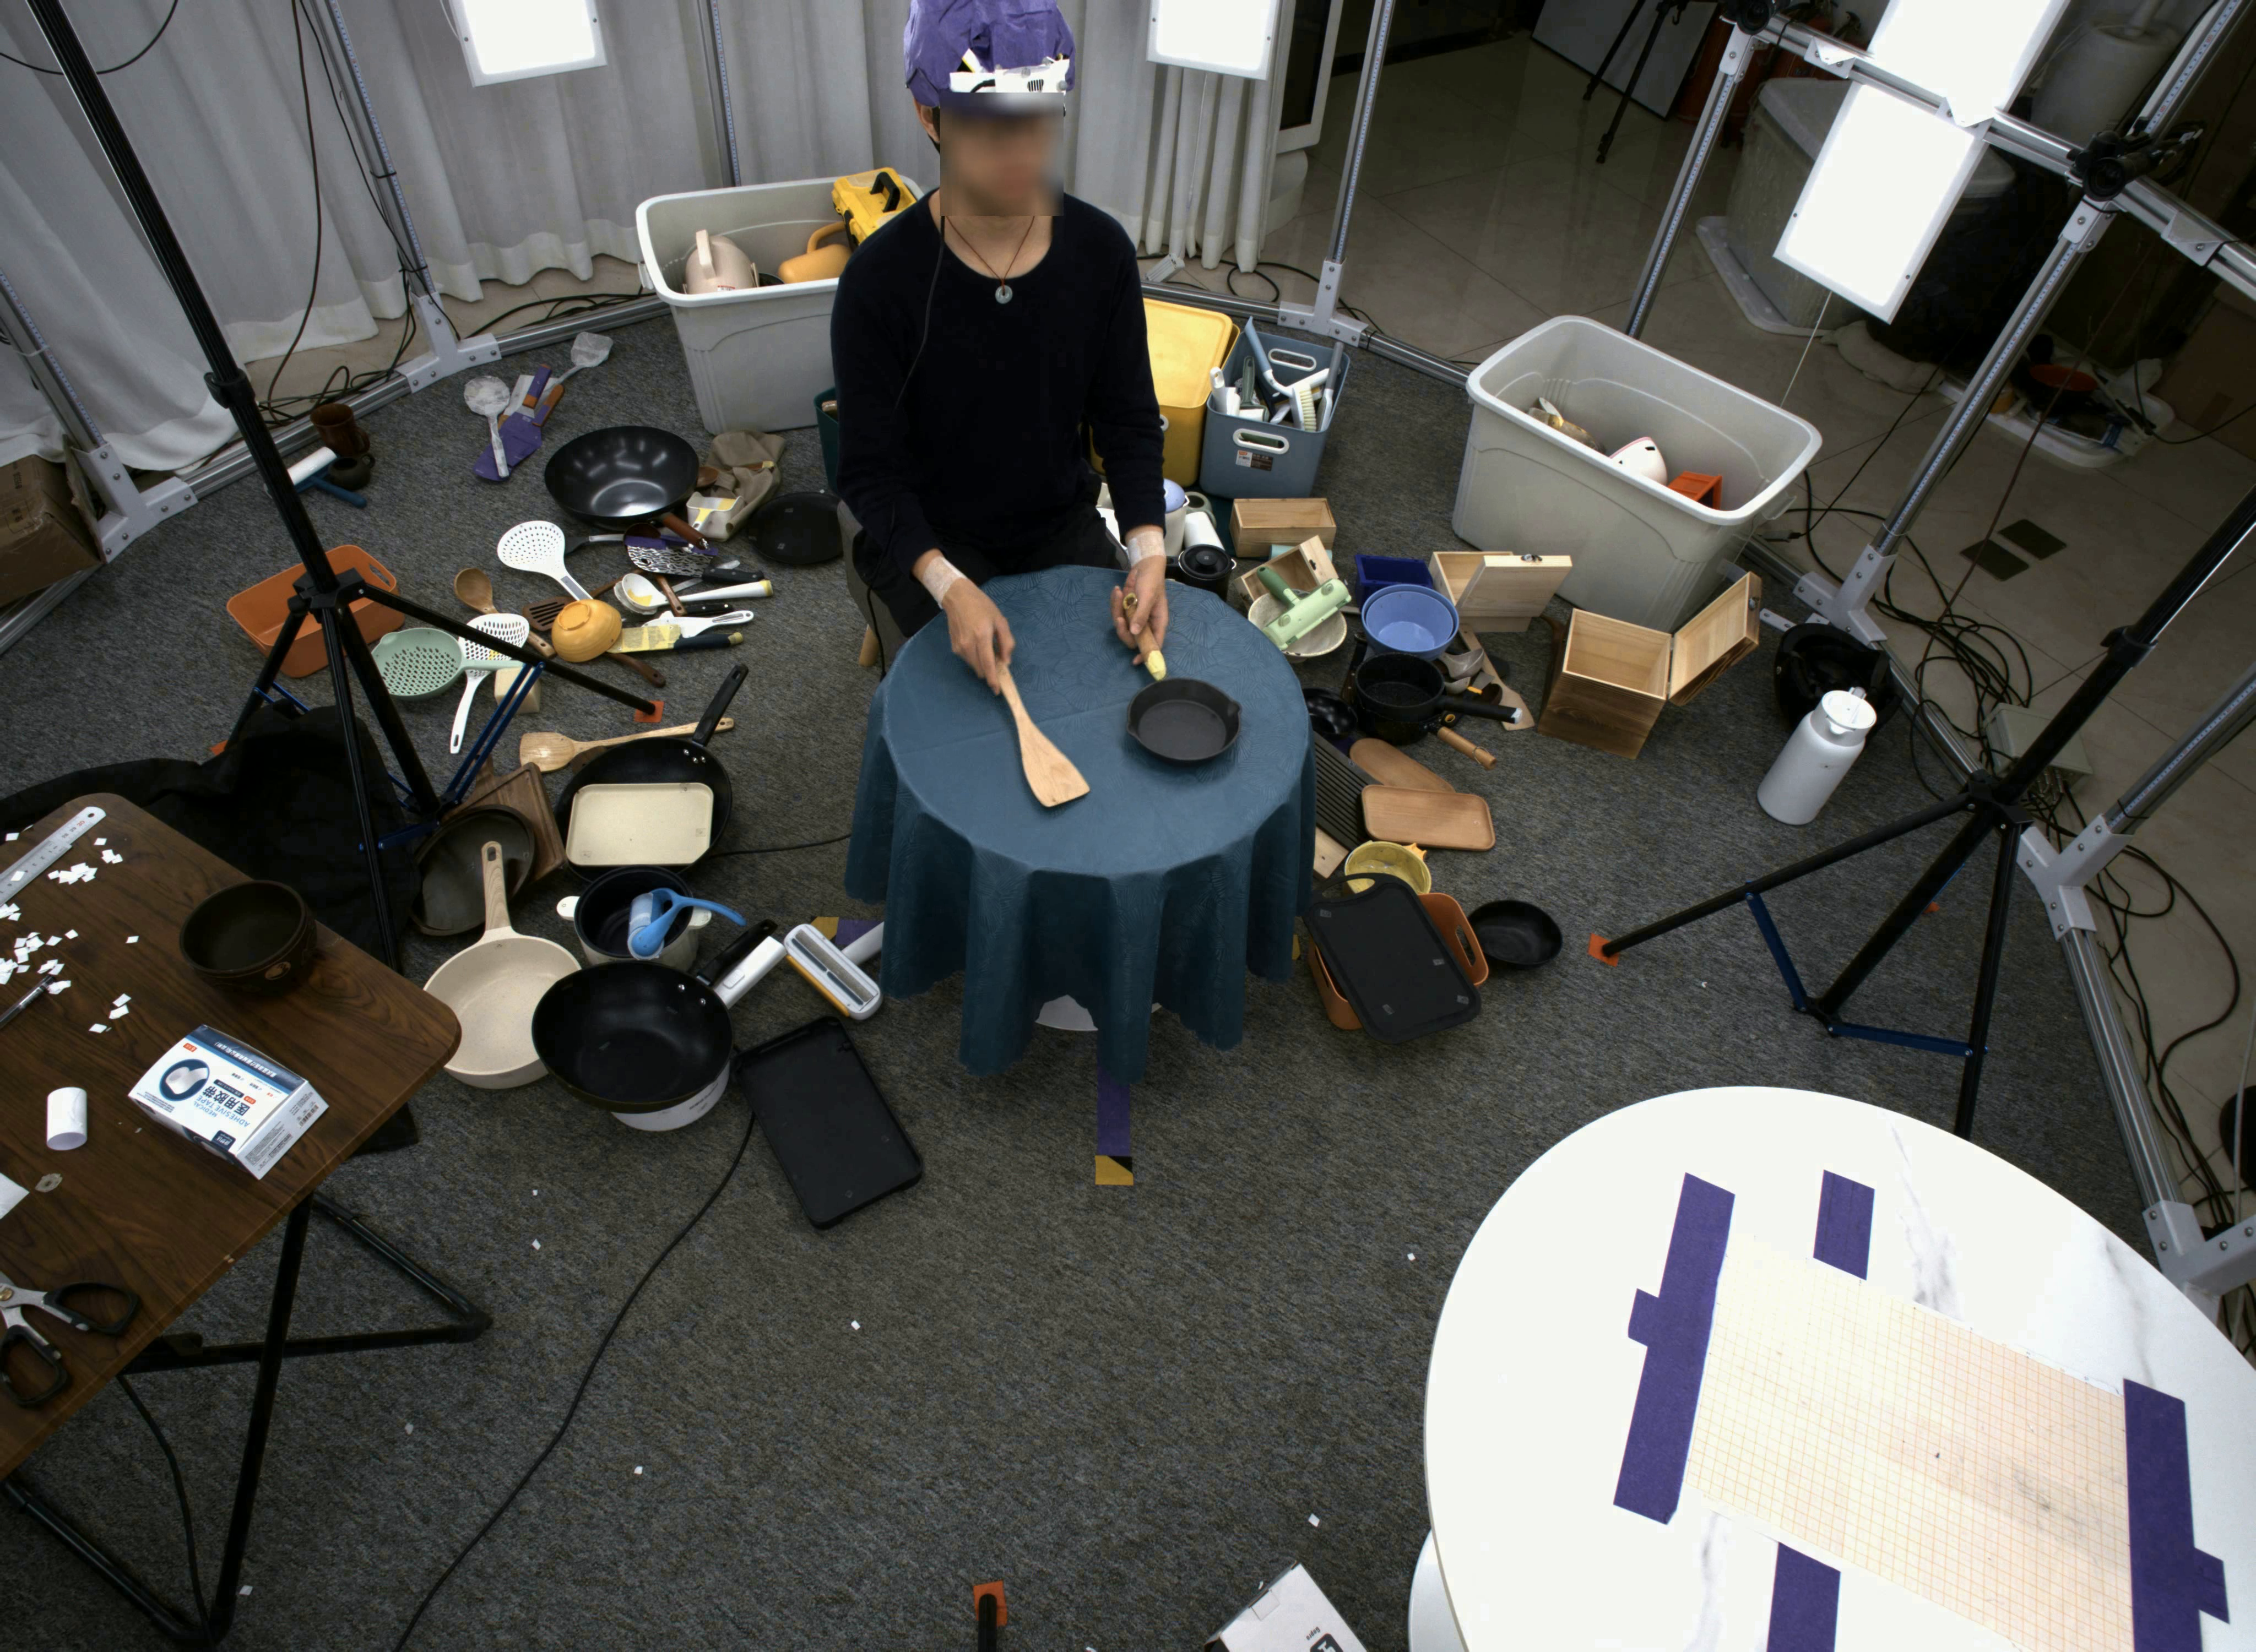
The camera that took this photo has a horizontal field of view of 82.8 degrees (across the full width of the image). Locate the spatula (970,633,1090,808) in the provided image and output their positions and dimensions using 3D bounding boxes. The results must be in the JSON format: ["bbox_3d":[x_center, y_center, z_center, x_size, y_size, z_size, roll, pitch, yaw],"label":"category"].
[{"bbox_3d":[-0.146,-0.151,1.758,0.080,0.016,0.334,-8,55,-31],"label":"spatula"}]

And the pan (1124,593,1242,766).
[{"bbox_3d":[0.052,-0.209,1.821,0.169,0.048,0.332,-11,52,-13],"label":"pan"}]
